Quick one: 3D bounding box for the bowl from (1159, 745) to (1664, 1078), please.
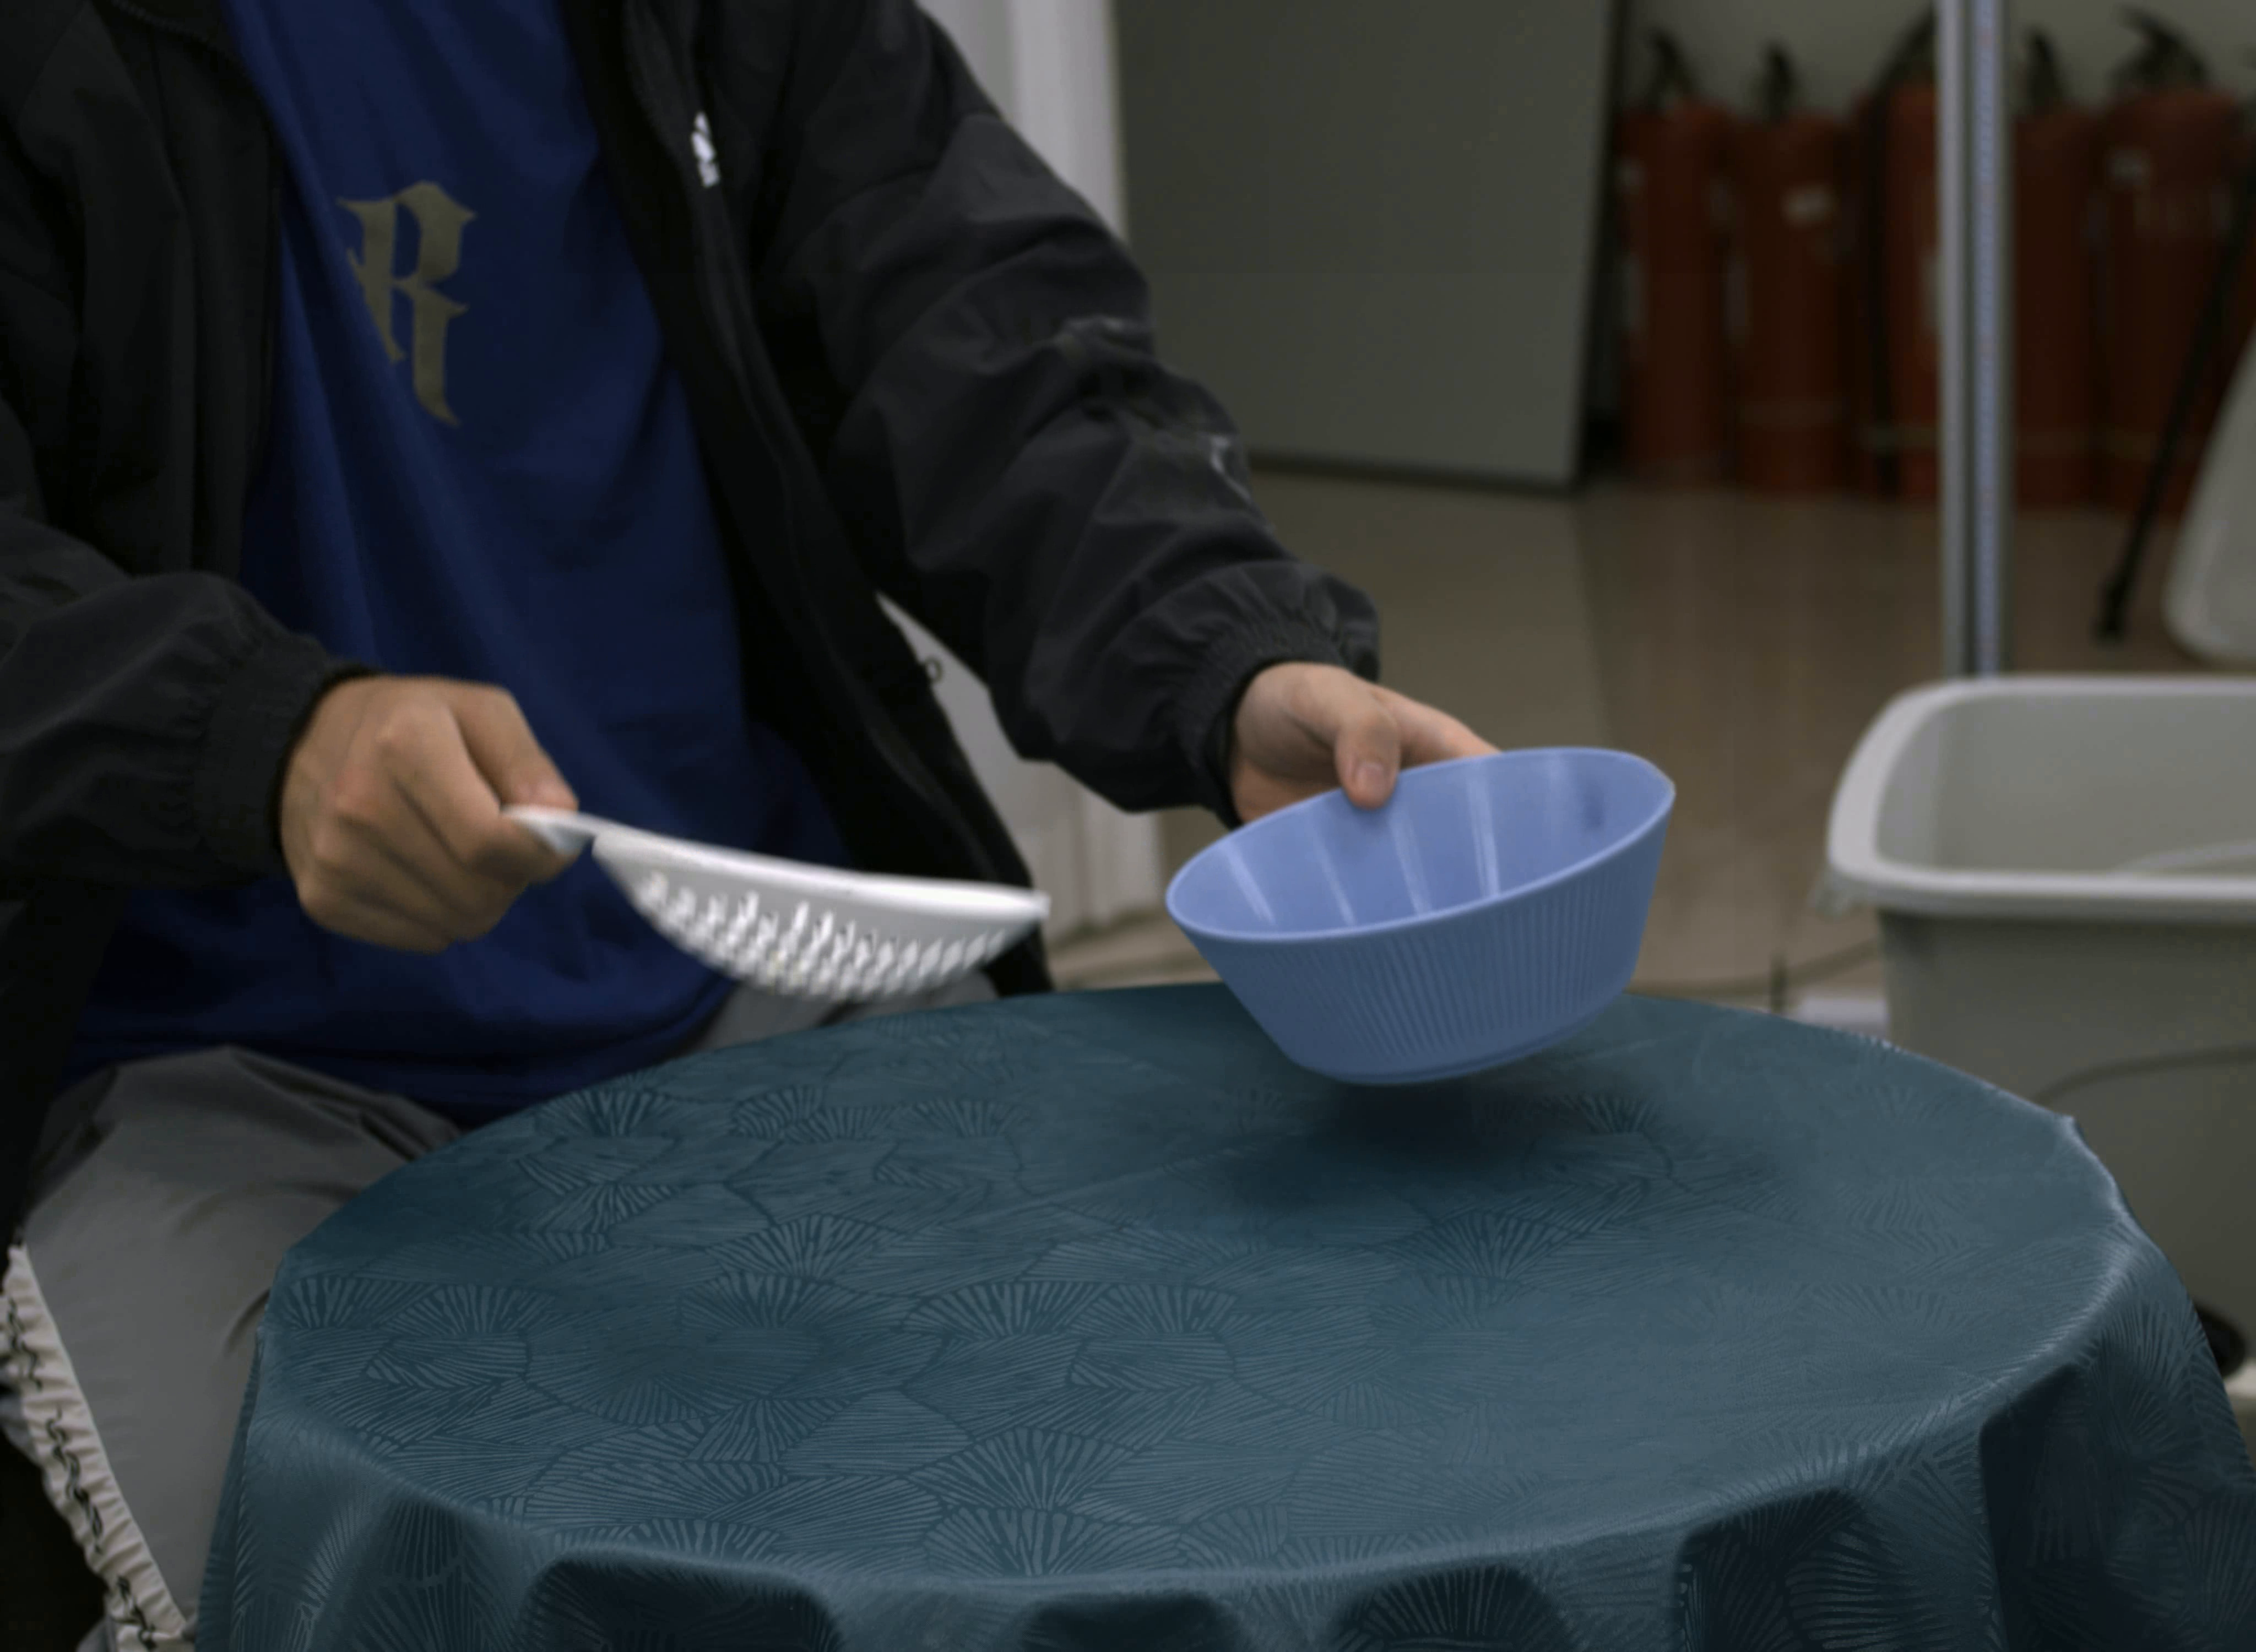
[{"bbox_3d":[0.101,0.033,1.807,0.174,0.071,0.176,-15,14,3],"label":"bowl"}]

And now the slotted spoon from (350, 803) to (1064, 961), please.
[{"bbox_3d":[-0.154,0.009,1.735,0.133,0.051,0.351,6,3,-36],"label":"slotted spoon"}]
